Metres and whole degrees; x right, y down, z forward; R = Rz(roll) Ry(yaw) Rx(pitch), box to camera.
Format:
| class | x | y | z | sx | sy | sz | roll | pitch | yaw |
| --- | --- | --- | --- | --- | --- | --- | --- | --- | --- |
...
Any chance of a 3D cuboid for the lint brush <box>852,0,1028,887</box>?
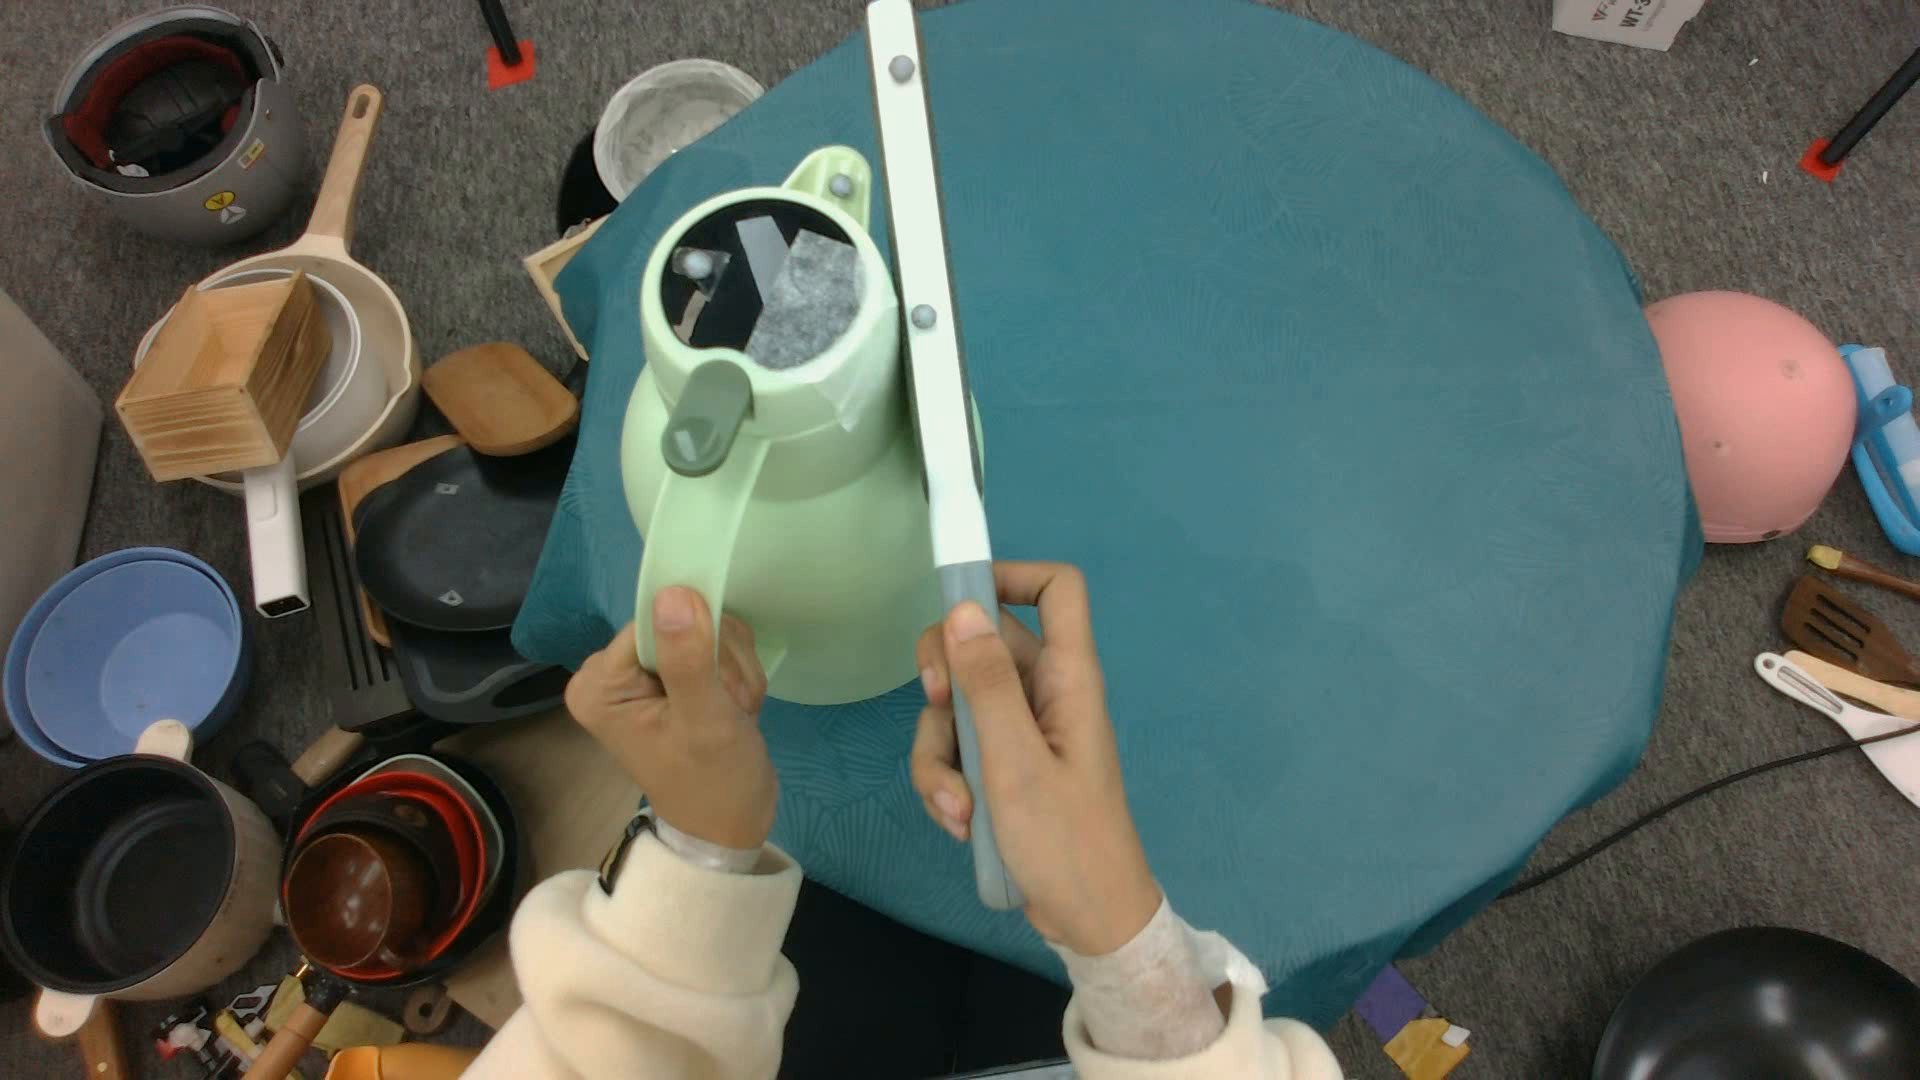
| class | x | y | z | sx | sy | sz | roll | pitch | yaw |
| --- | --- | --- | --- | --- | --- | --- | --- | --- | --- |
| lint brush | -0.008 | -0.040 | 0.465 | 0.021 | 0.060 | 0.309 | -8 | 82 | -2 |

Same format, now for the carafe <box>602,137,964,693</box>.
| class | x | y | z | sx | sy | sz | roll | pitch | yaw |
| --- | --- | --- | --- | --- | --- | --- | --- | --- | --- |
| carafe | -0.073 | -0.026 | 0.539 | 0.144 | 0.256 | 0.187 | 17 | 73 | 4 |
